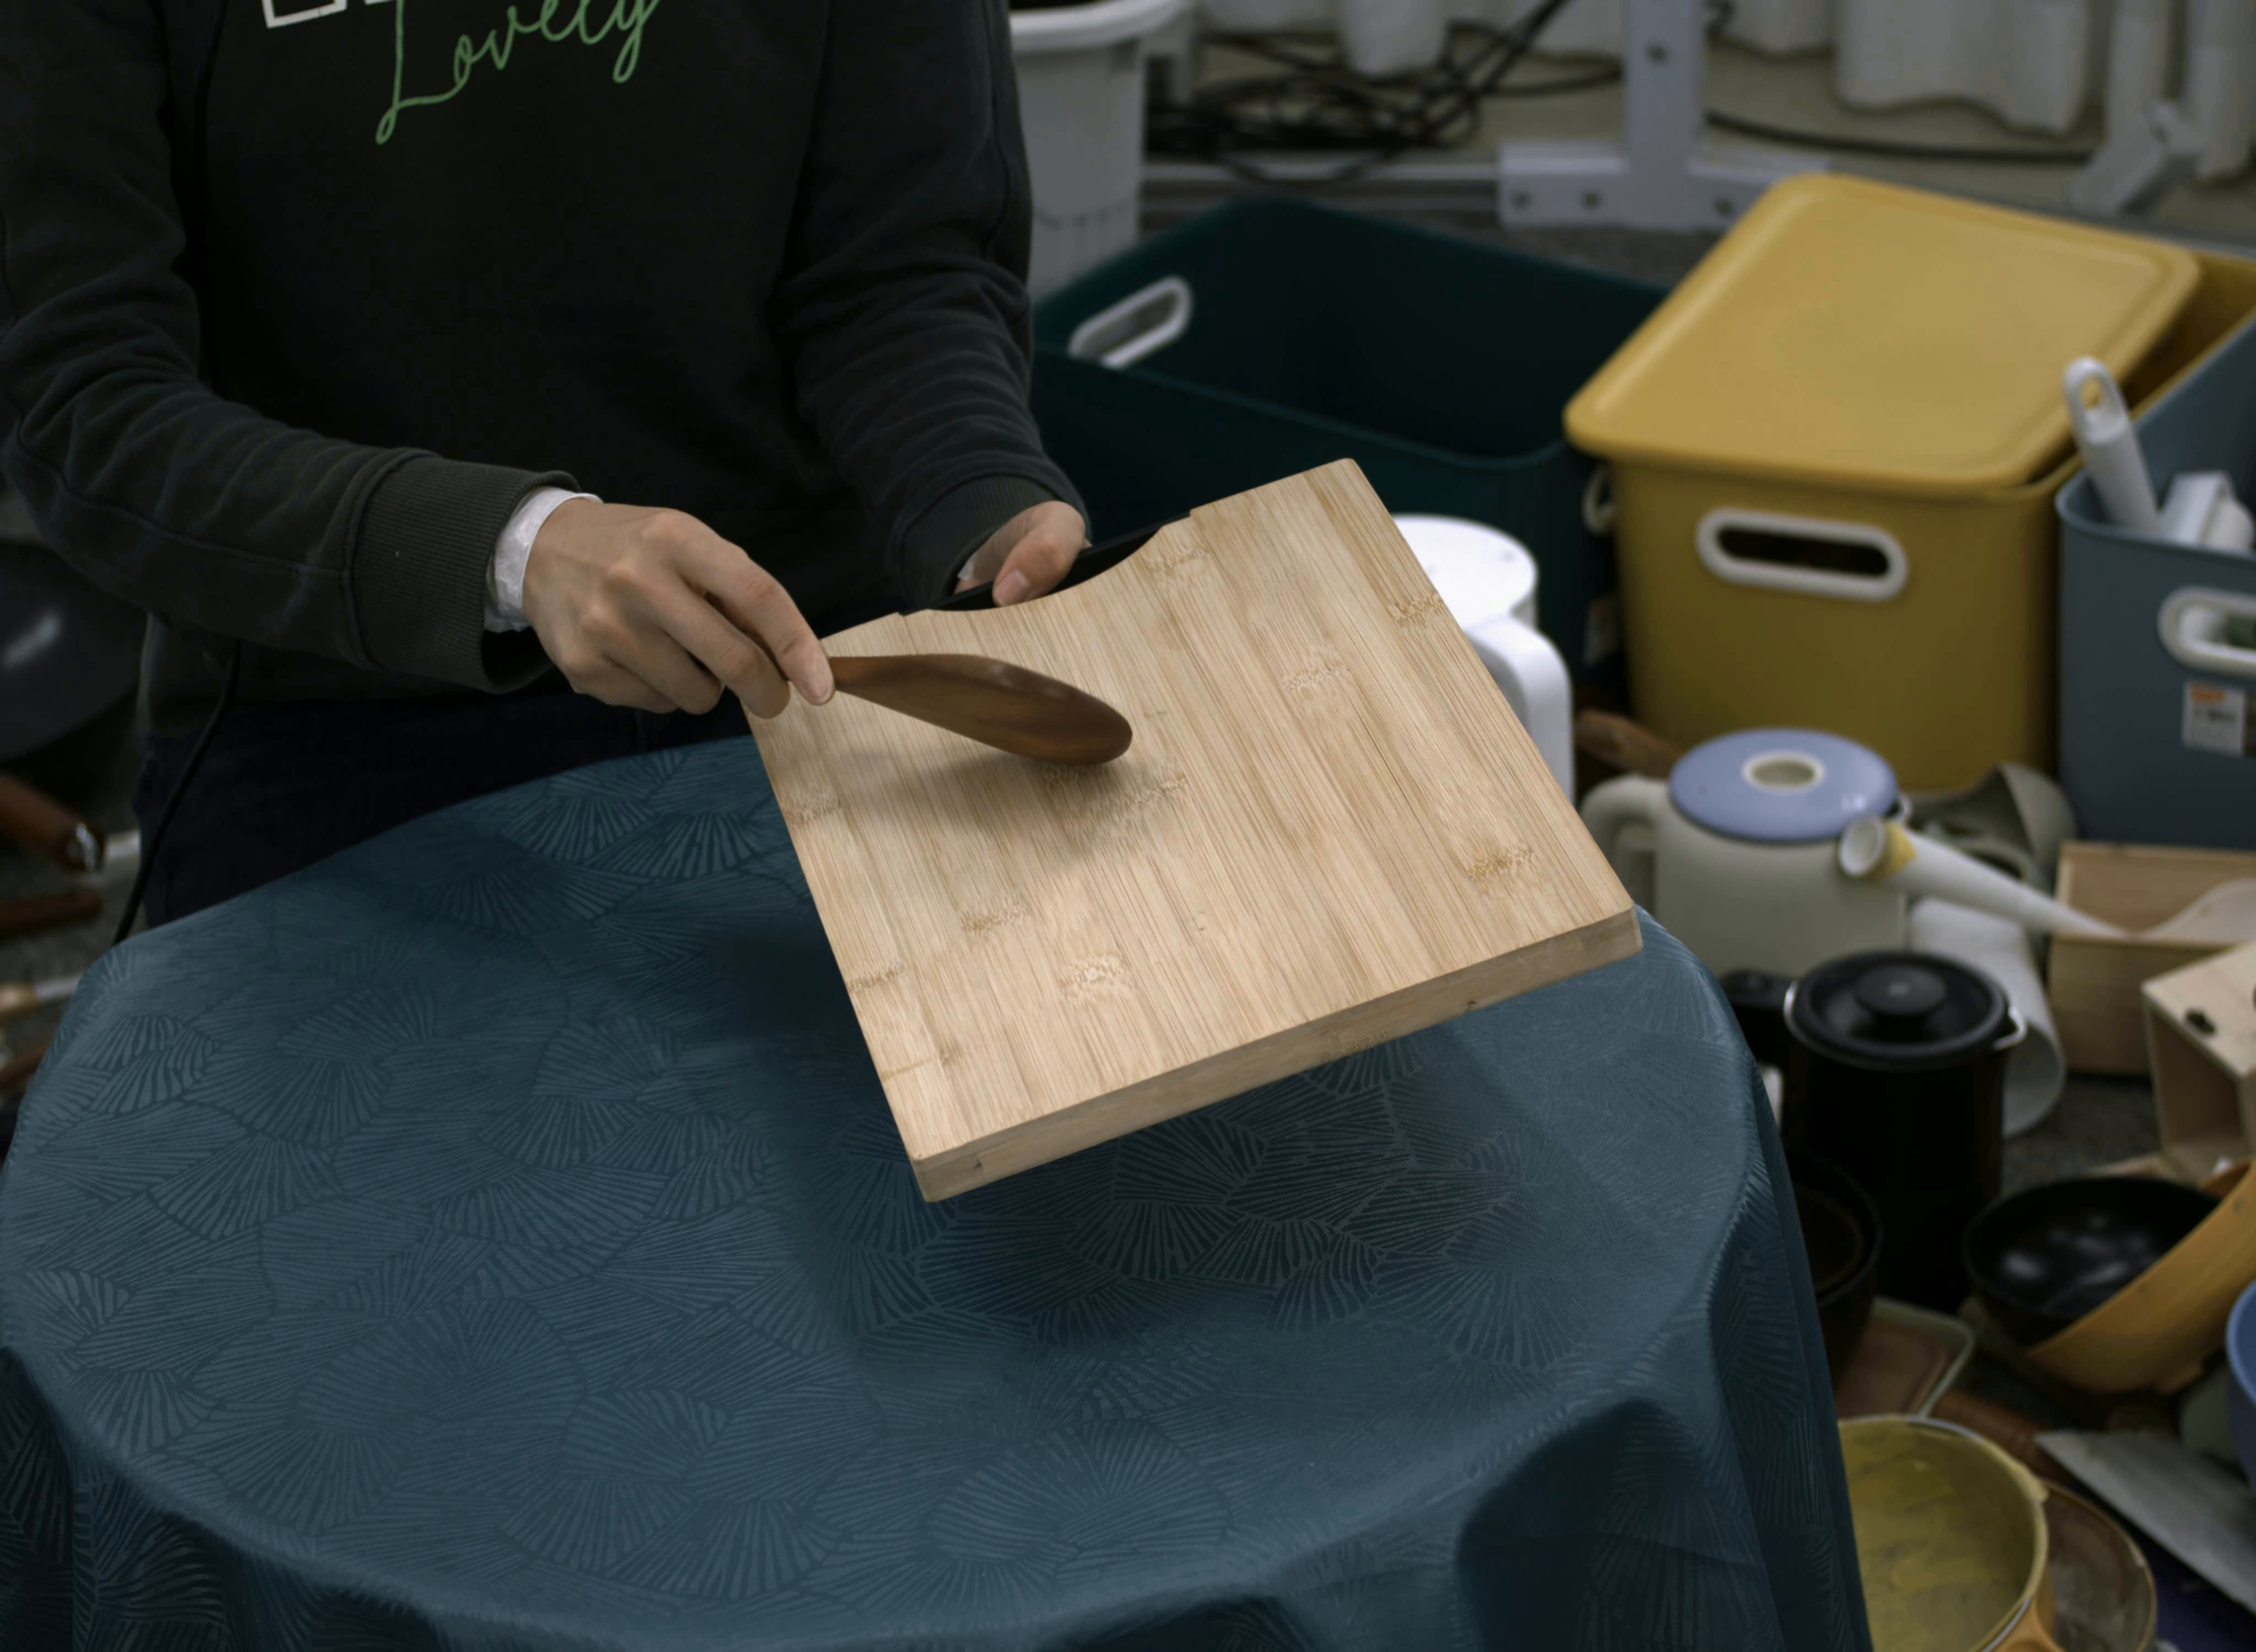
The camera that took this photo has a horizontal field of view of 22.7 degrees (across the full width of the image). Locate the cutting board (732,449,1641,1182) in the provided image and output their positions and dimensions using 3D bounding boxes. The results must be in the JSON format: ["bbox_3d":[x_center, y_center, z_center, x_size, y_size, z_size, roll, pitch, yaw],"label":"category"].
[{"bbox_3d":[0.009,-0.011,1.896,0.250,0.023,0.352,-19,30,-6],"label":"cutting board"}]

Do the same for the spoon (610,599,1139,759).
[{"bbox_3d":[-0.091,-0.050,1.922,0.214,0.017,0.075,13,-13,33],"label":"spoon"}]
